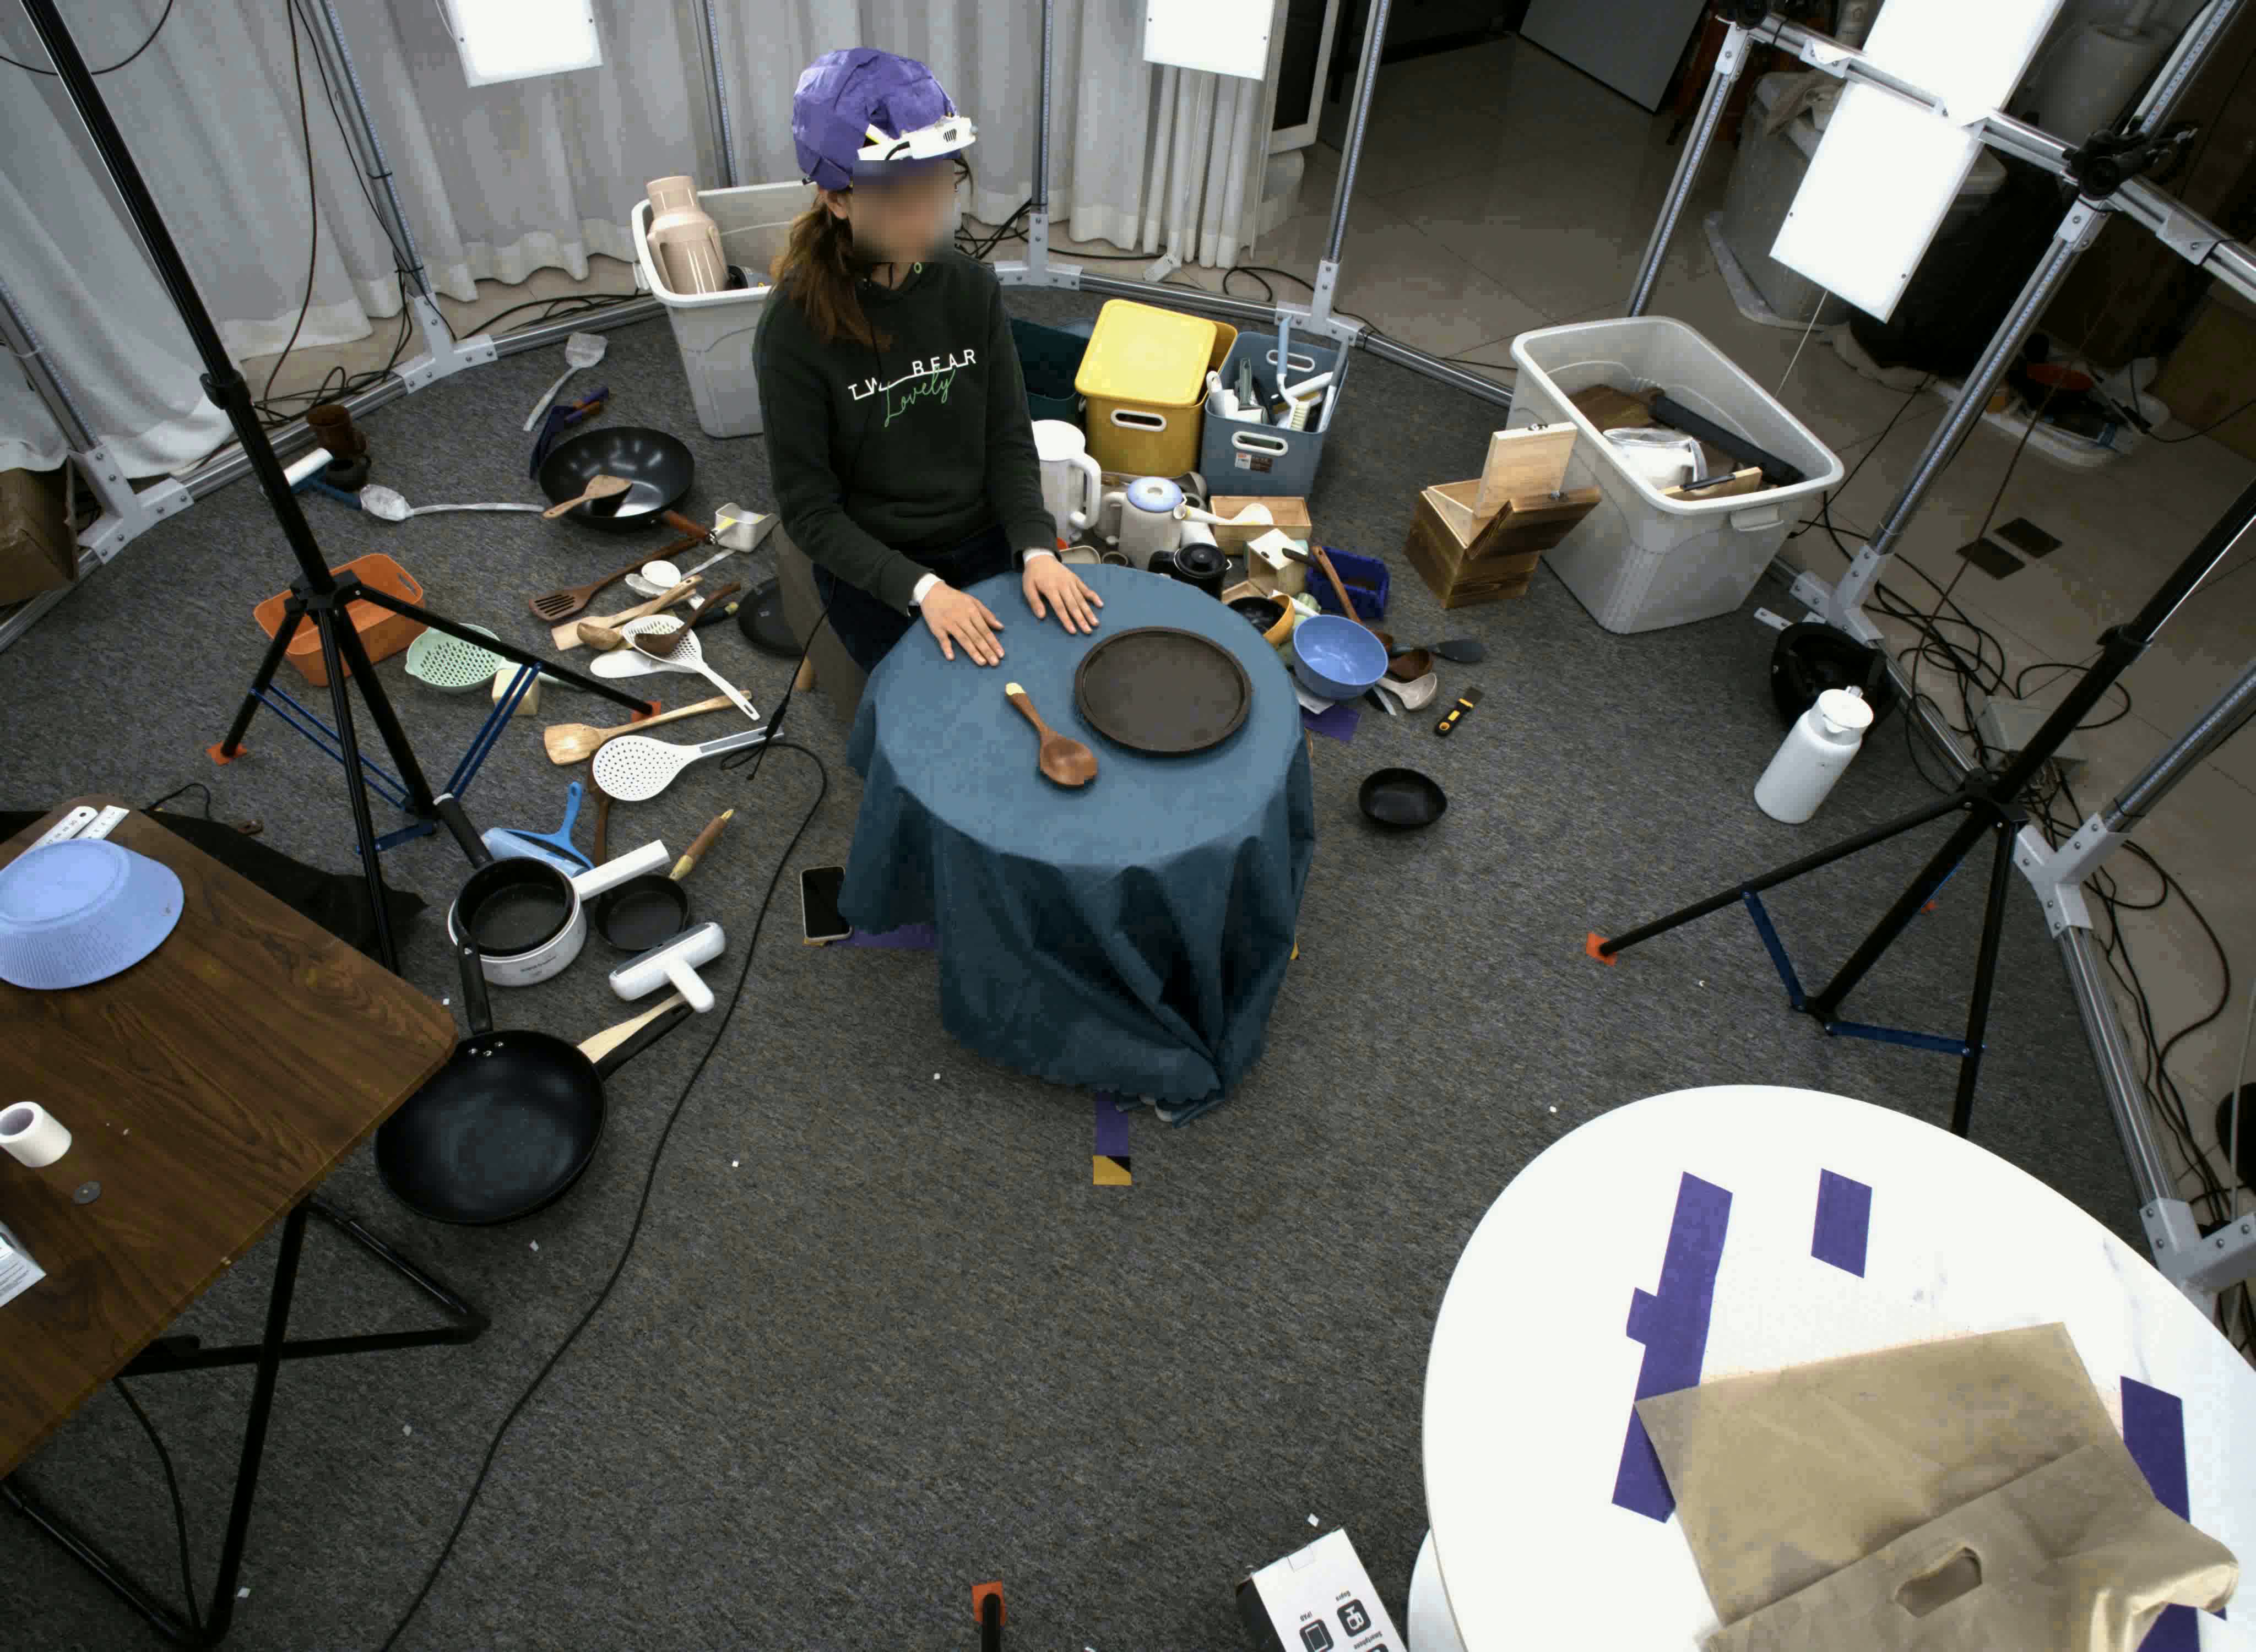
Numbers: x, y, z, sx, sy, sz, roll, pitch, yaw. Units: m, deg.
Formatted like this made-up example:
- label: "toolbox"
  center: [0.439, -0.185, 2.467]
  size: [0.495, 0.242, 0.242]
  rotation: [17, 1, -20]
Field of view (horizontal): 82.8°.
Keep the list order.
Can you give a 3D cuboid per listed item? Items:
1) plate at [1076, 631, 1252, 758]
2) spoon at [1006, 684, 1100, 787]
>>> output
- label: "plate"
  center: [0.051, -0.191, 1.840]
  size: [0.254, 0.028, 0.261]
  rotation: [2, 49, -3]
- label: "spoon"
  center: [-0.111, -0.126, 1.775]
  size: [0.076, 0.017, 0.220]
  rotation: [-22, 54, -21]
